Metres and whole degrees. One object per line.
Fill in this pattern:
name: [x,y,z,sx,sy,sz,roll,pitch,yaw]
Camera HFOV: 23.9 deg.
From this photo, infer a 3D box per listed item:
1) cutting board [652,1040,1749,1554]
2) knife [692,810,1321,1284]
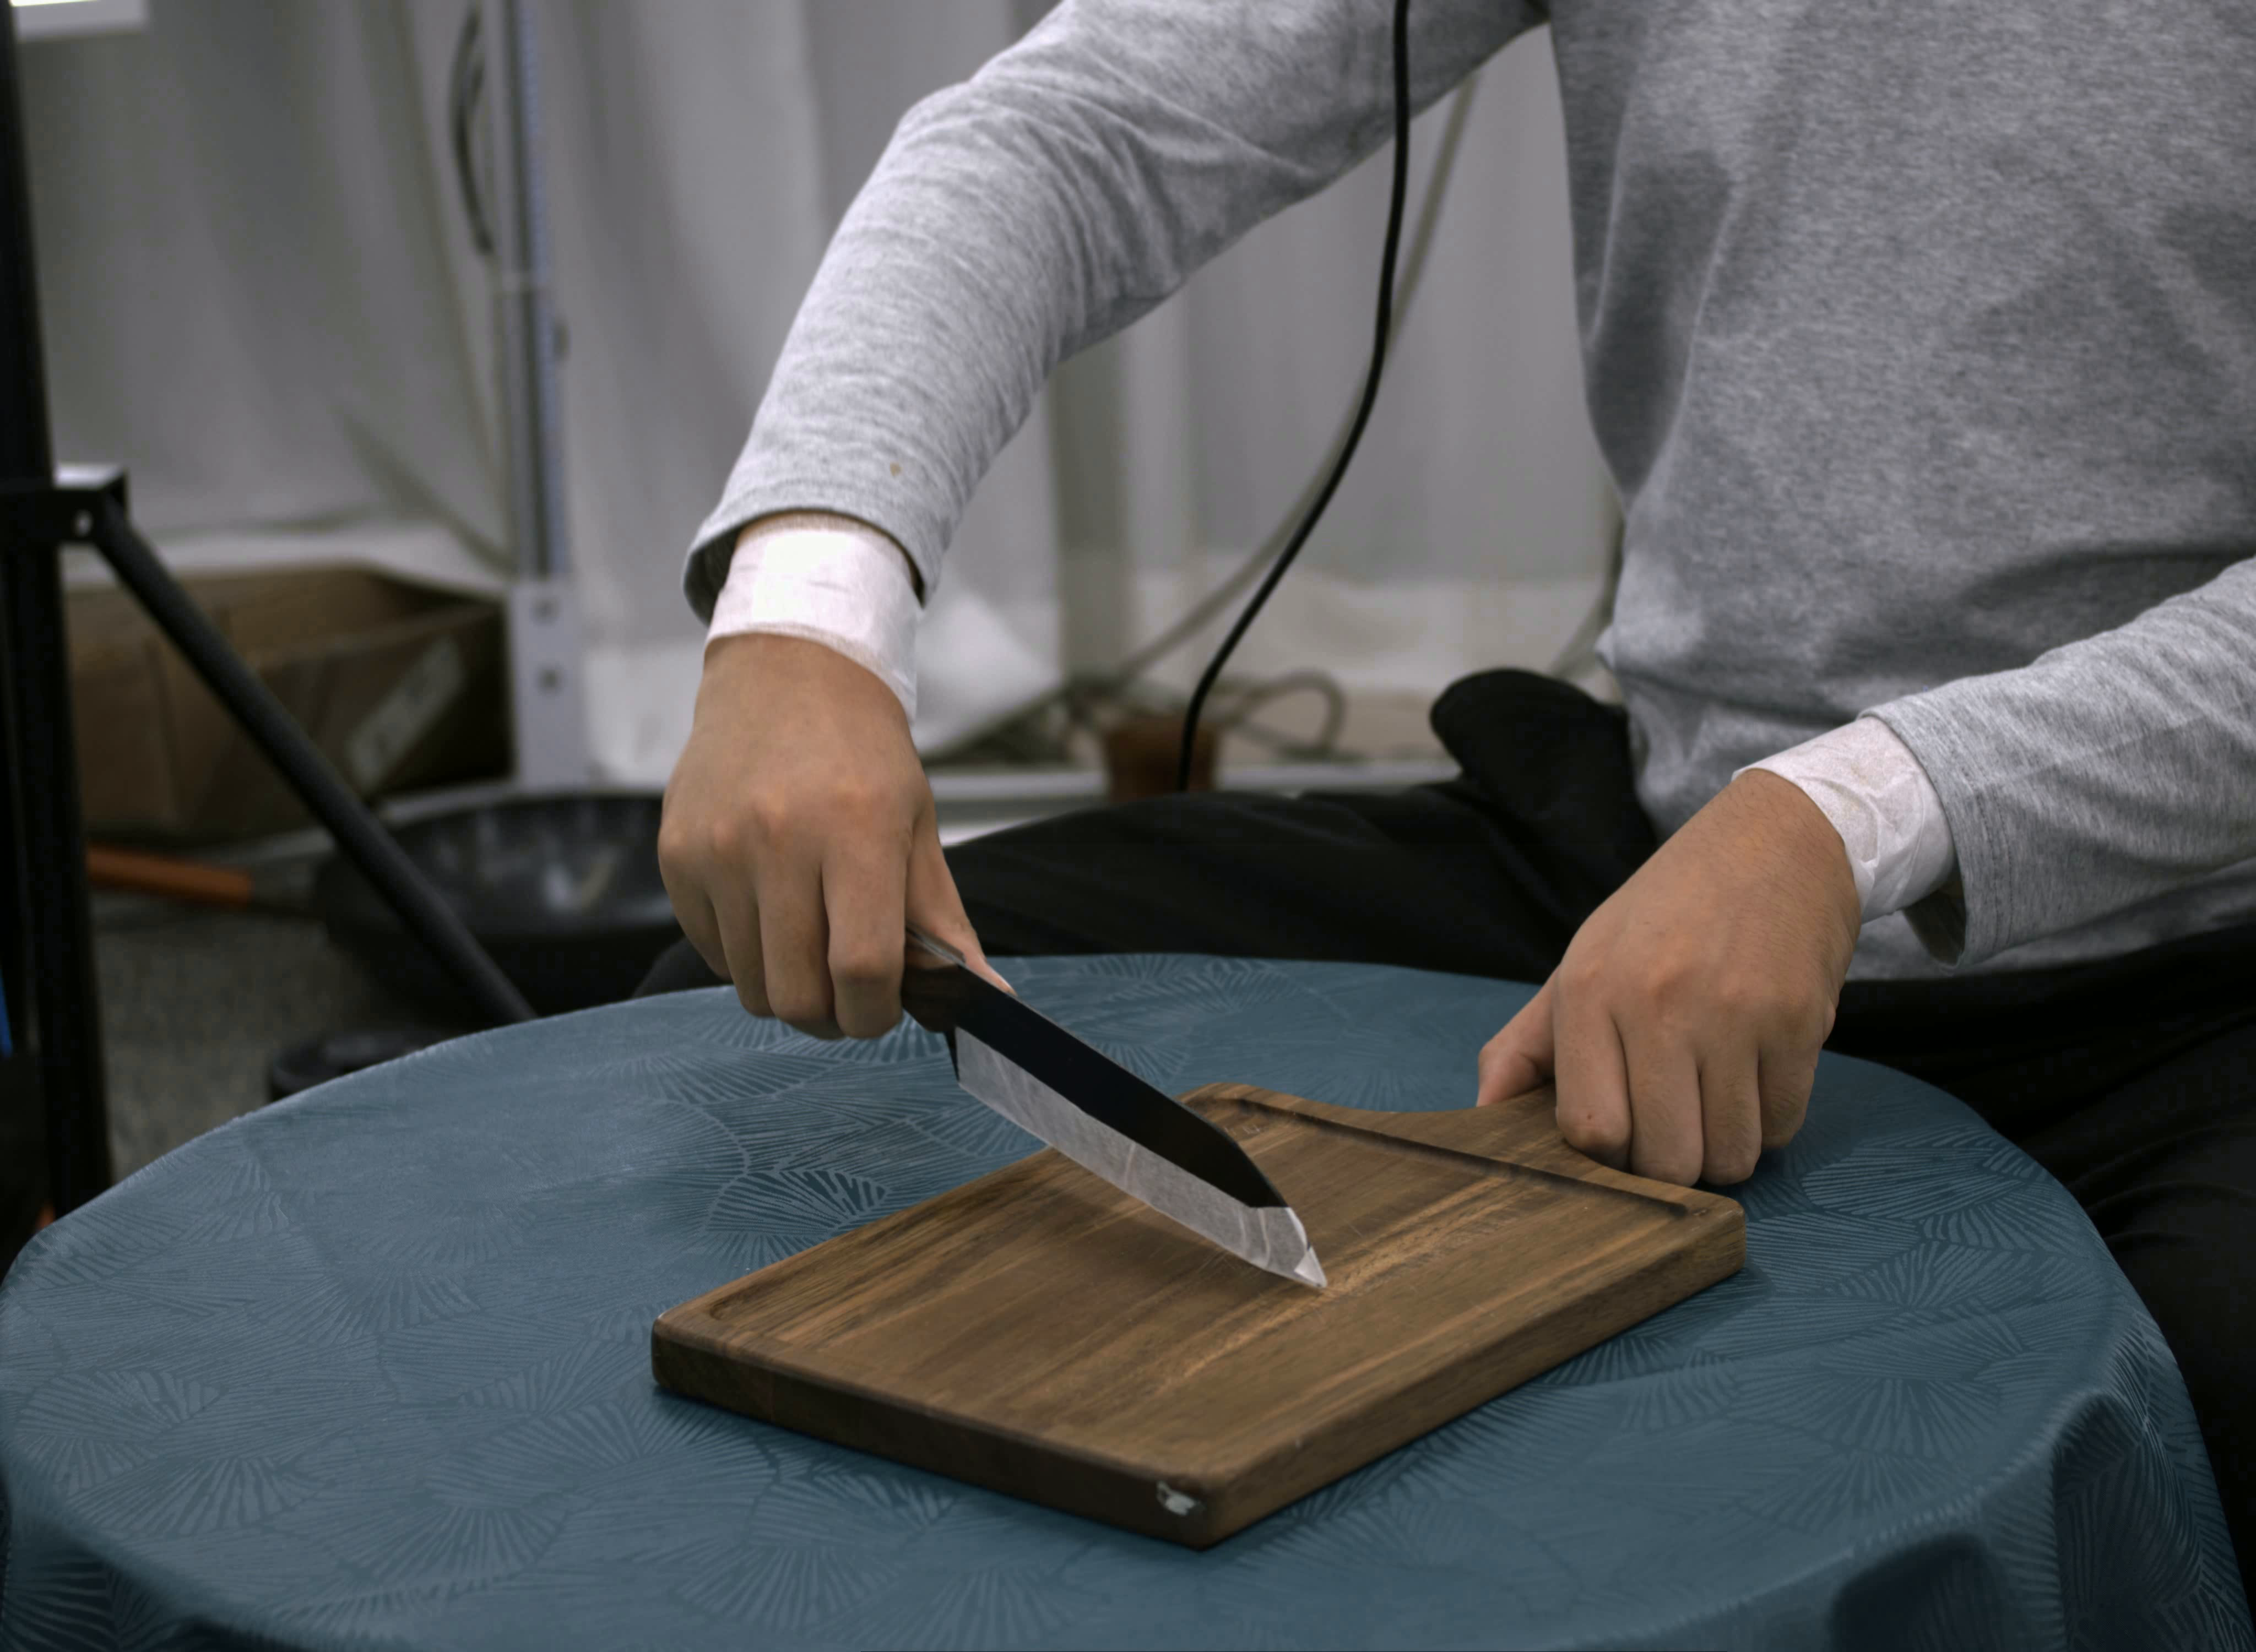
cutting board: [0.055,0.117,1.486,0.205,0.023,0.344,12,21,39]
knife: [-0.037,0.061,1.529,0.019,0.050,0.296,-23,37,-31]
